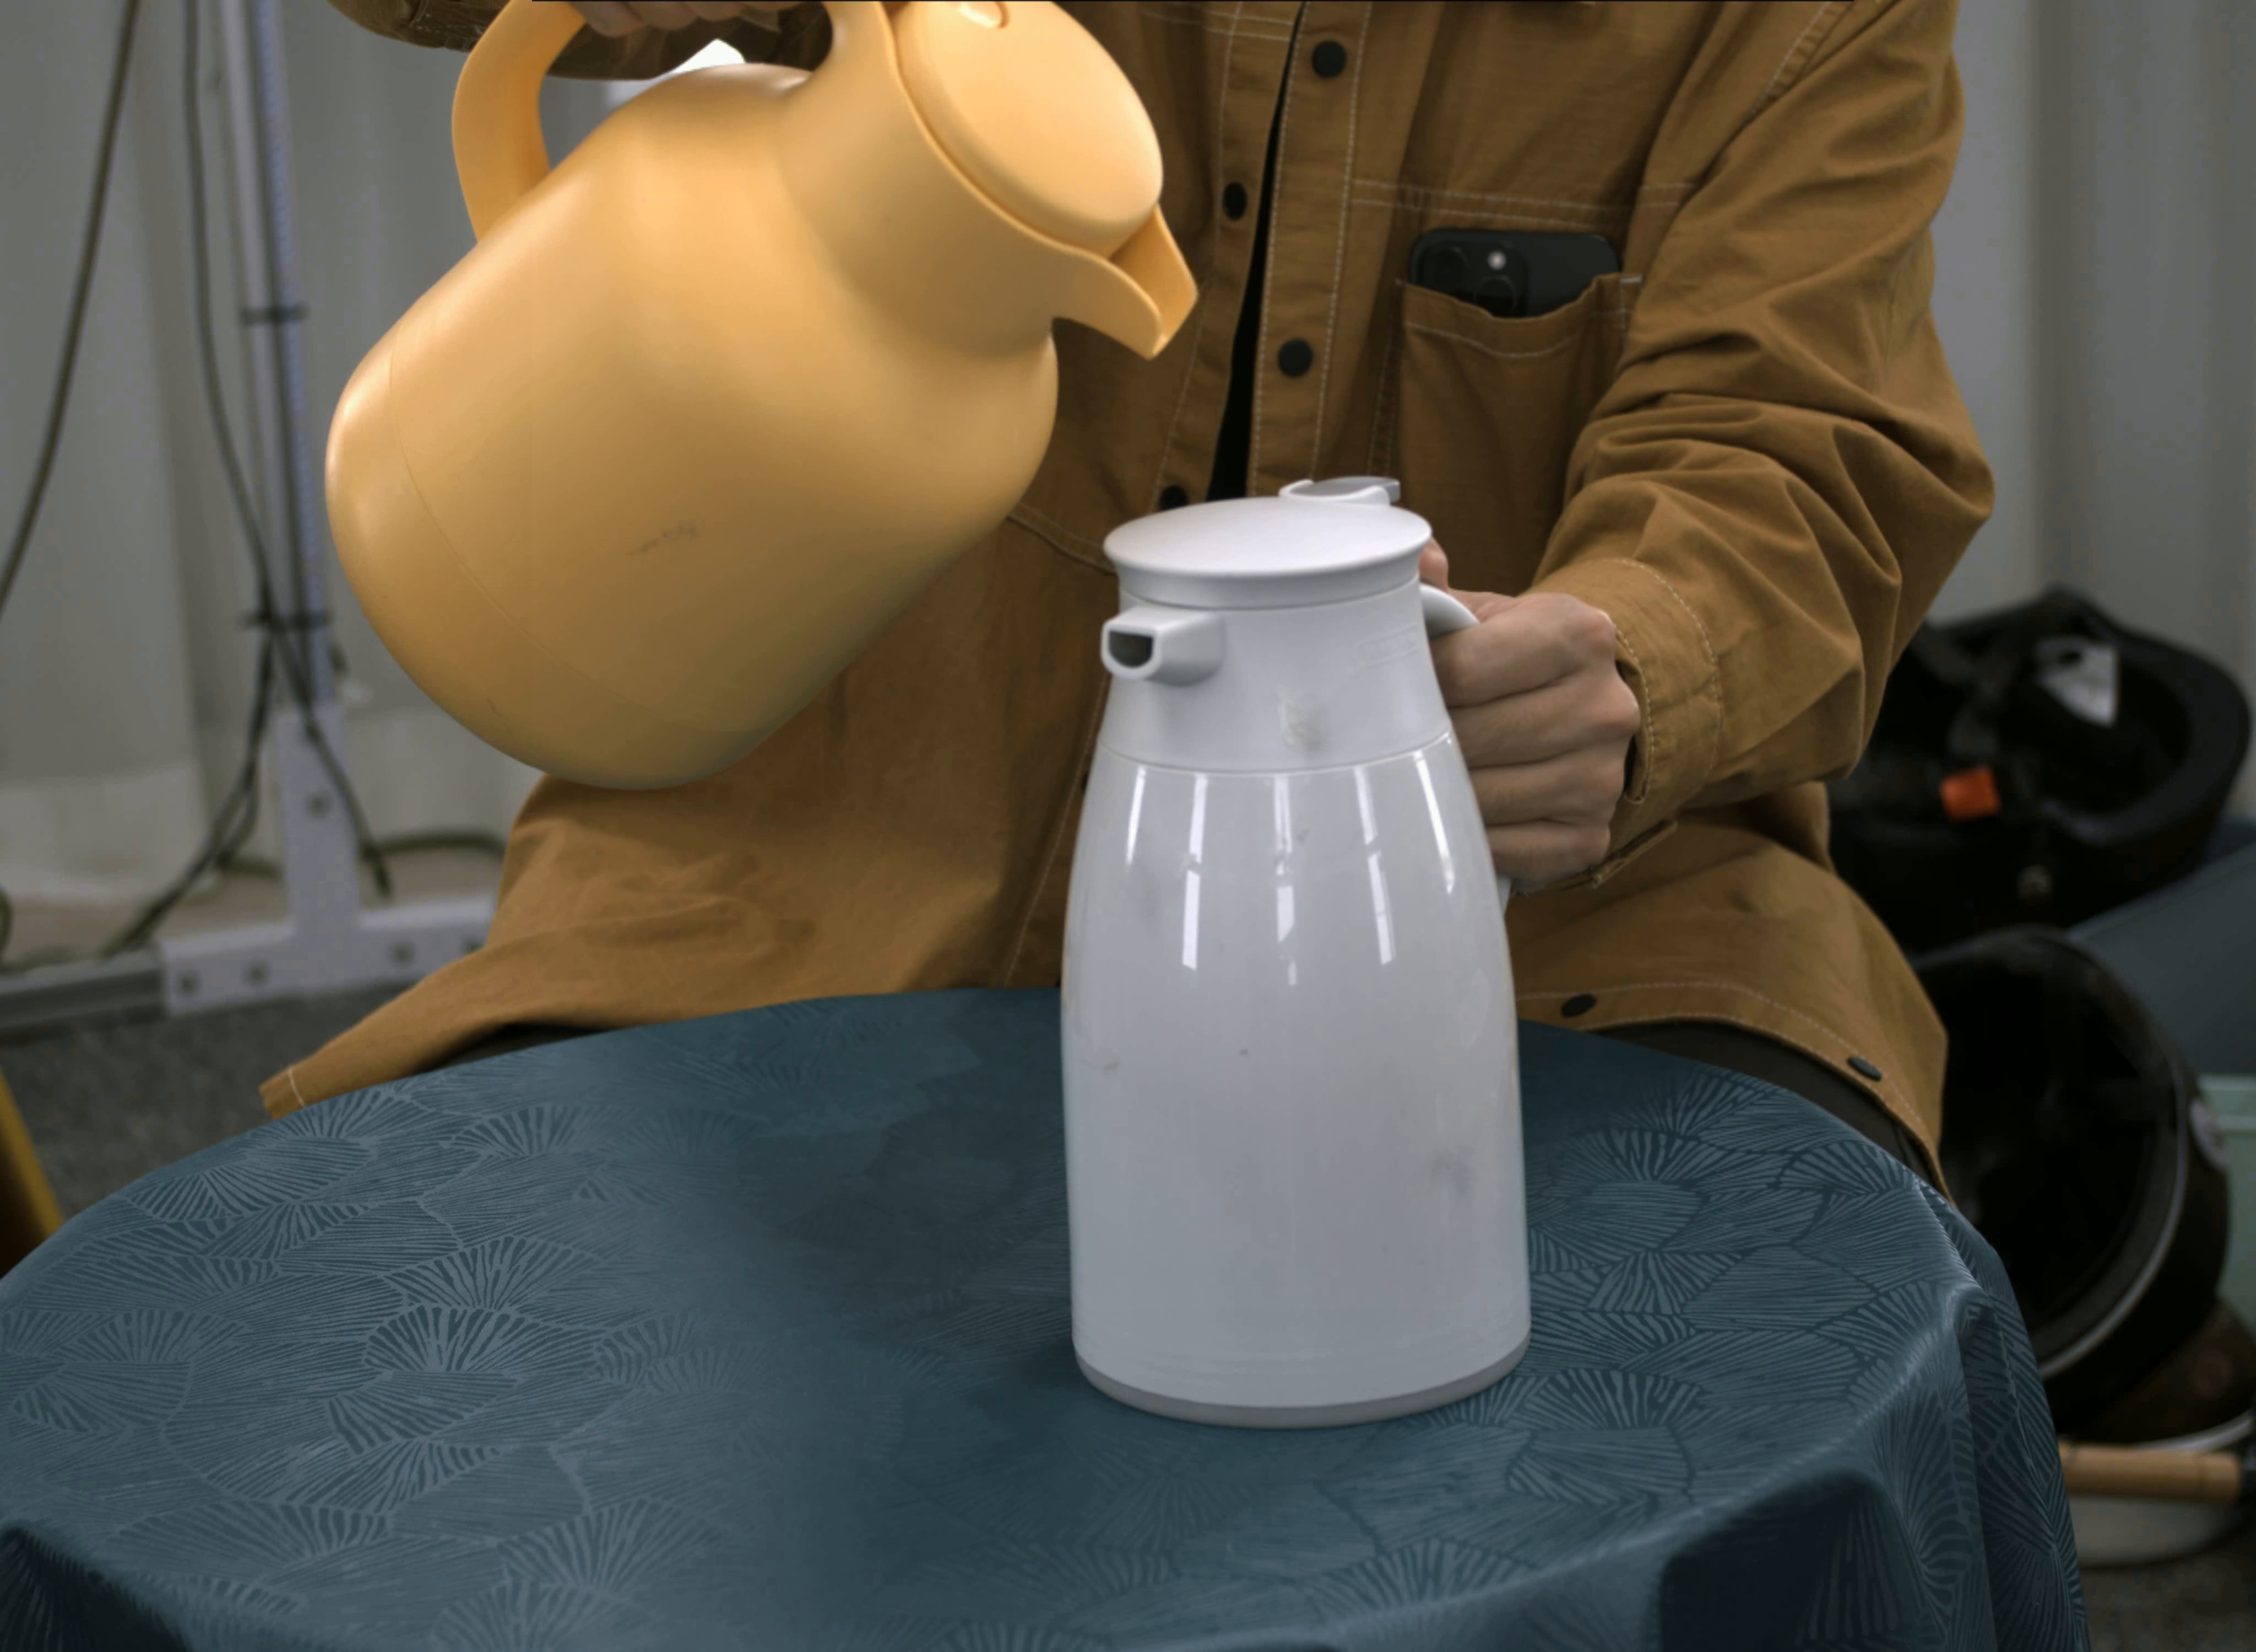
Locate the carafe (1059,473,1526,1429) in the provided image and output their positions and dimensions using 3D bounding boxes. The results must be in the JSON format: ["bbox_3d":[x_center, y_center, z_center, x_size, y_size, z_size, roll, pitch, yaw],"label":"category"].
[{"bbox_3d":[0.055,0.026,1.558,0.133,0.248,0.167,8,17,38],"label":"carafe"}]

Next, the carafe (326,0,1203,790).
[{"bbox_3d":[-0.113,-0.150,1.565,0.259,0.202,0.164,-39,1,31],"label":"carafe"}]
